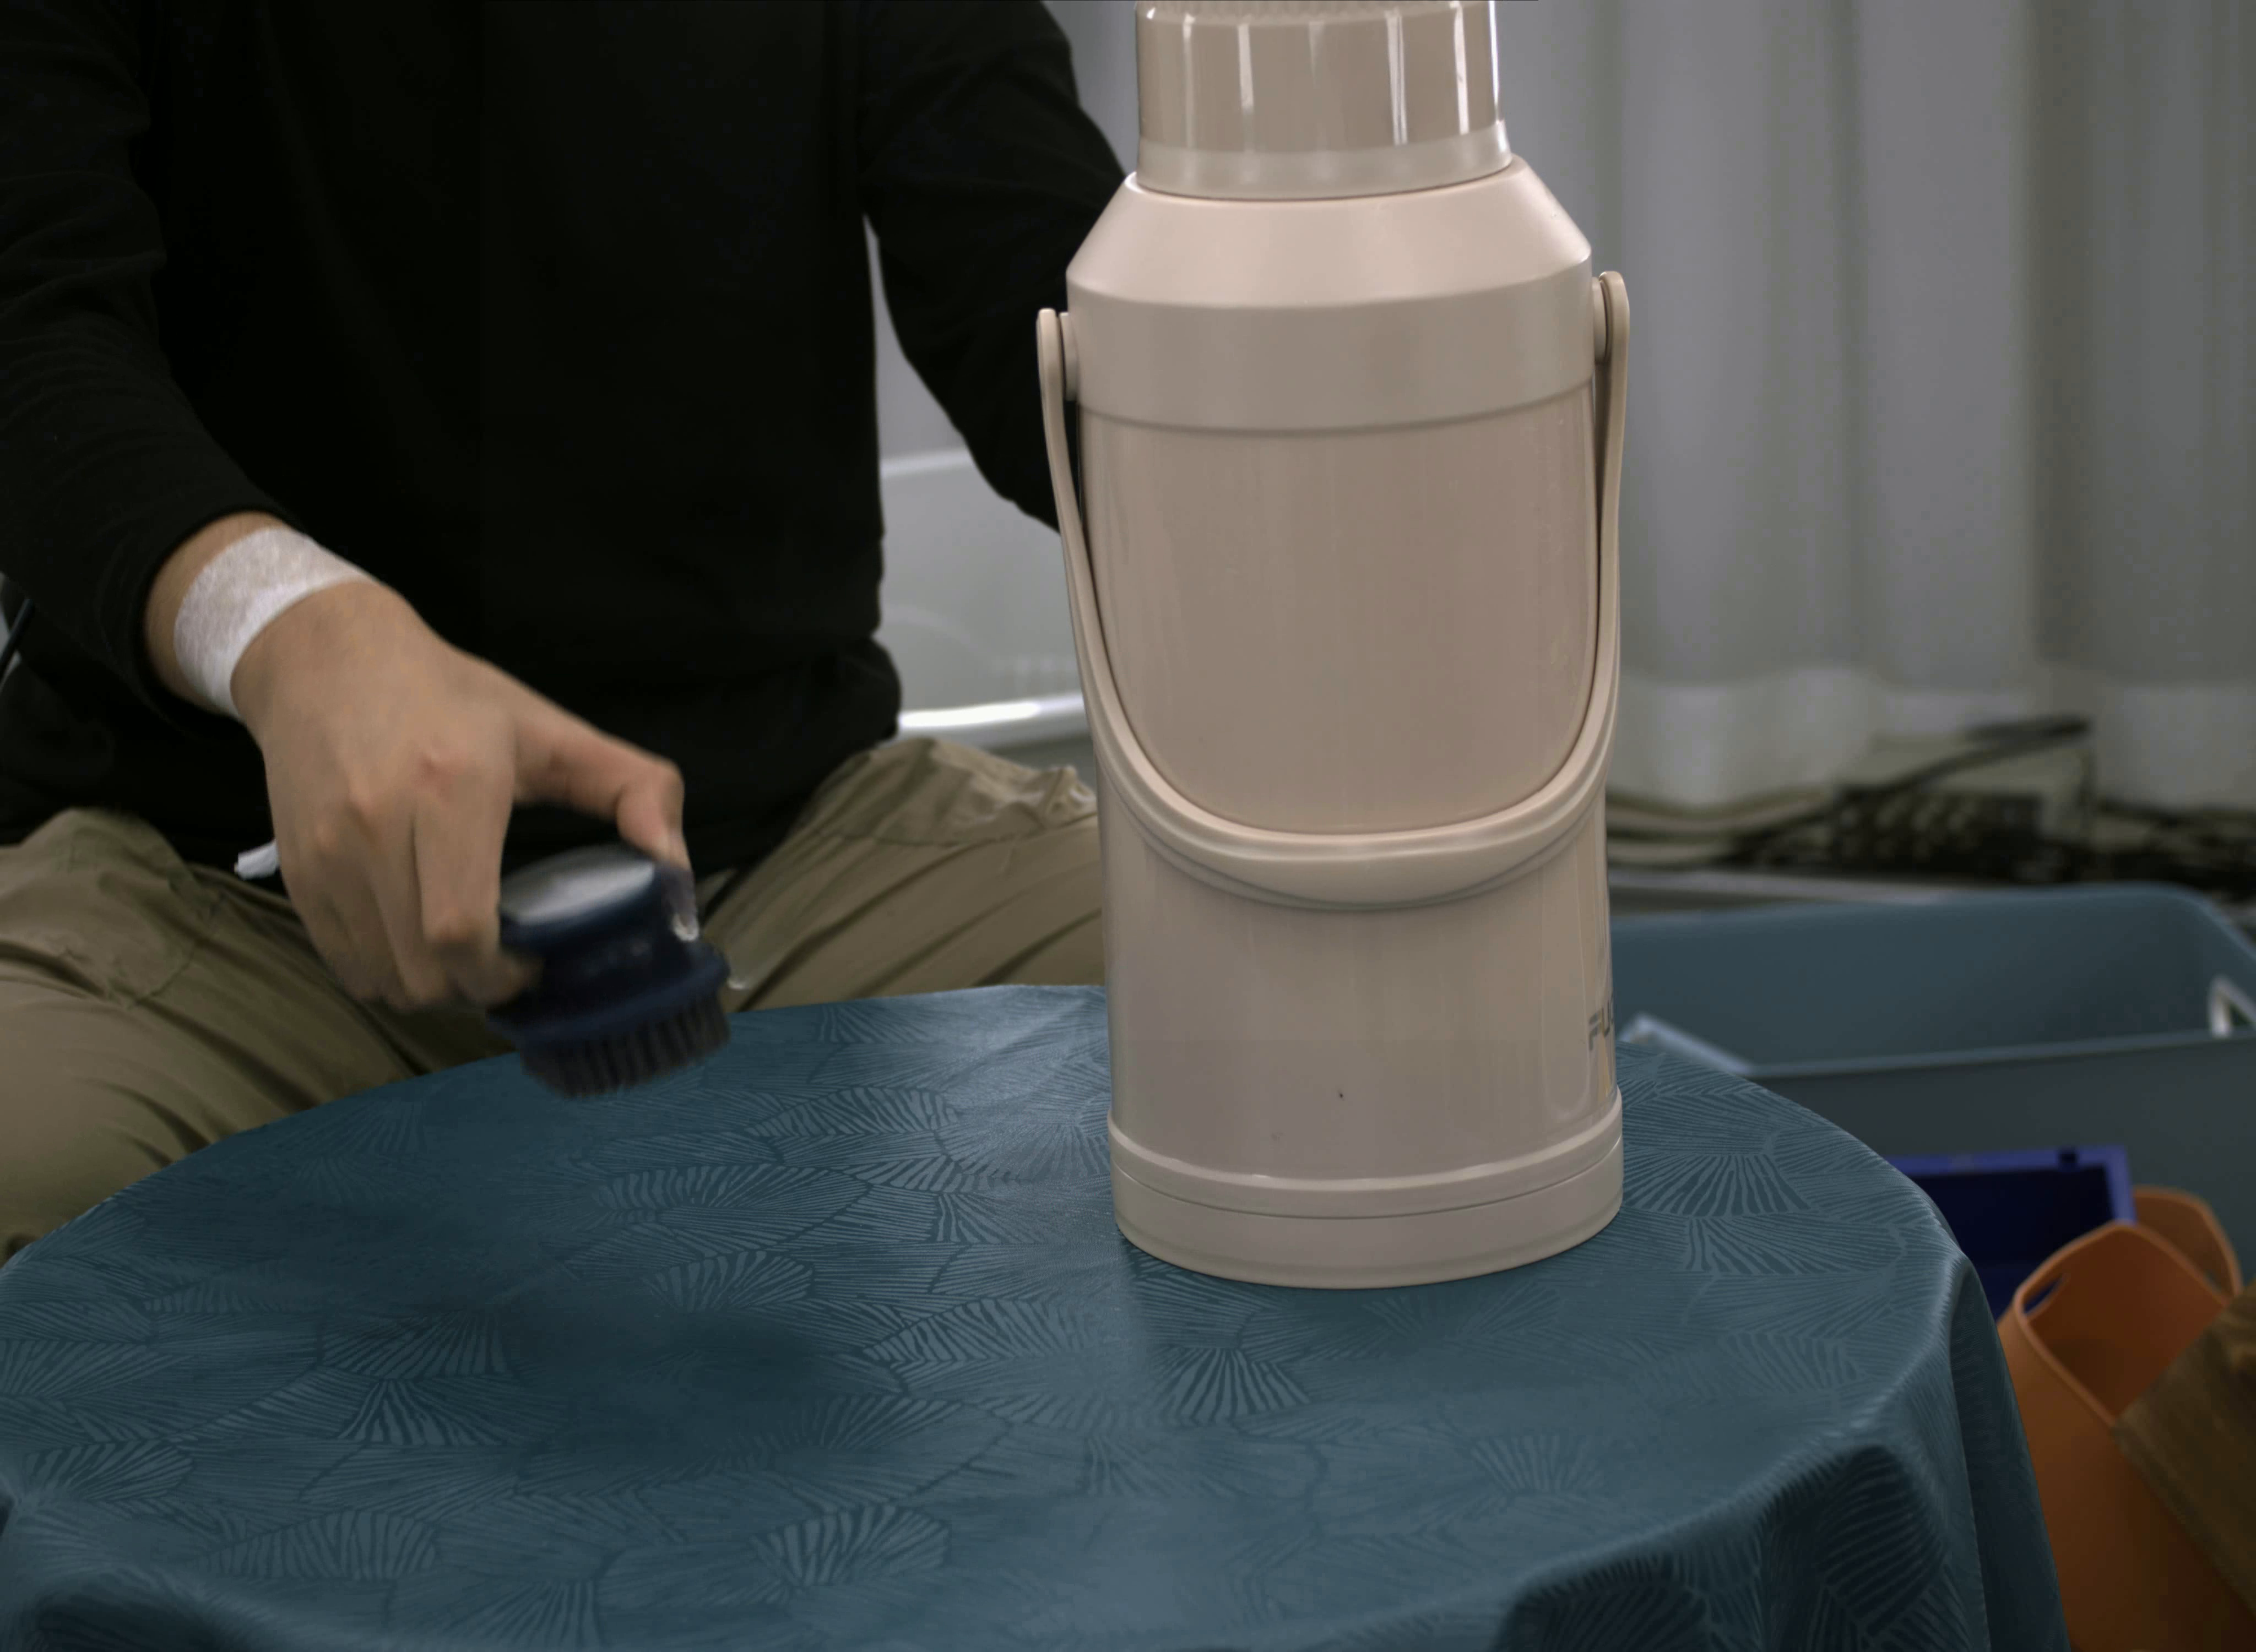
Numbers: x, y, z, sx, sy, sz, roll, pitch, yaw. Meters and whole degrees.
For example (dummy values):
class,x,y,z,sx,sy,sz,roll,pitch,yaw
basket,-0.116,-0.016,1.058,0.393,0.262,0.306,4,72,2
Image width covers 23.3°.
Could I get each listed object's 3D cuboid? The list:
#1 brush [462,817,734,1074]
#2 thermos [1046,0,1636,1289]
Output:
class,x,y,z,sx,sy,sz,roll,pitch,yaw
brush,-0.153,0.037,1.594,0.068,0.061,0.122,-21,11,-12
thermos,0.067,-0.078,1.661,0.174,0.405,0.208,-5,14,-4
